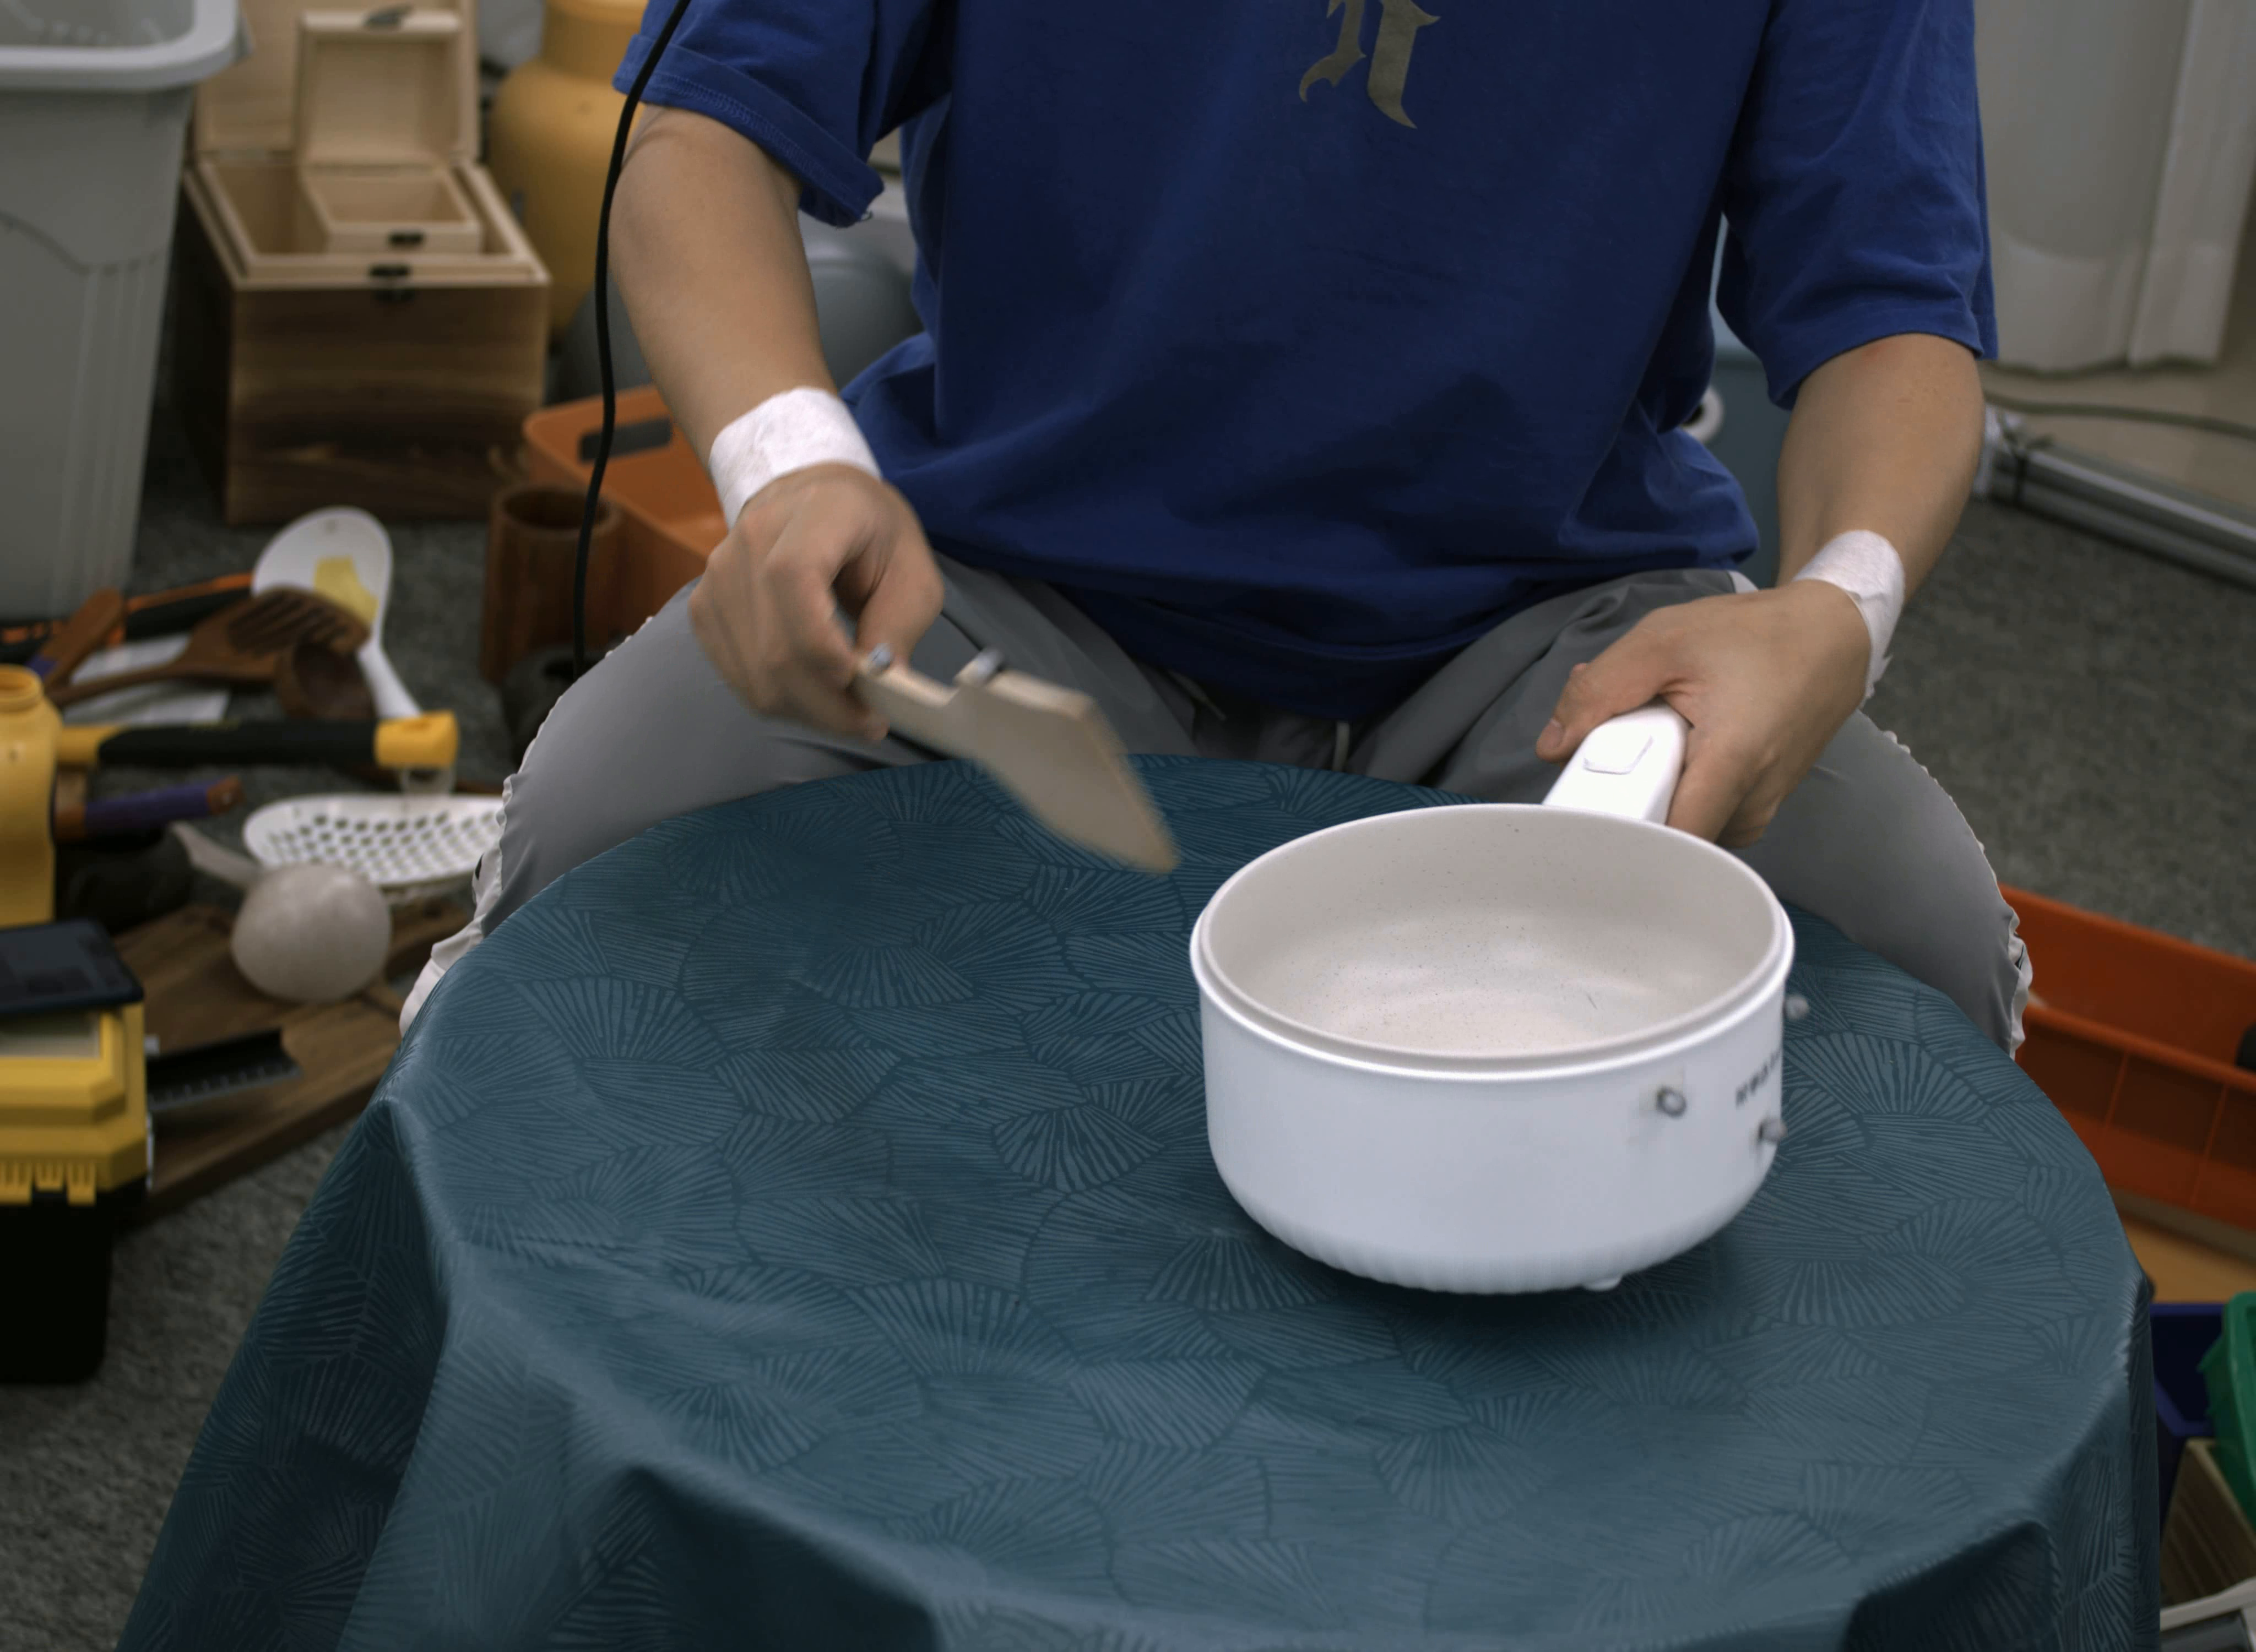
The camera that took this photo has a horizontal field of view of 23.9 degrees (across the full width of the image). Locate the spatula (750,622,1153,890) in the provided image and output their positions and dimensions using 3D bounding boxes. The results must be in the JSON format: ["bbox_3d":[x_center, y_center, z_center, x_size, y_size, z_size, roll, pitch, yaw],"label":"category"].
[{"bbox_3d":[-0.072,-0.035,1.842,0.010,0.072,0.295,-39,26,-12],"label":"spatula"}]

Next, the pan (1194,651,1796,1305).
[{"bbox_3d":[0.150,0.050,1.857,0.201,0.102,0.355,5,26,20],"label":"pan"}]
